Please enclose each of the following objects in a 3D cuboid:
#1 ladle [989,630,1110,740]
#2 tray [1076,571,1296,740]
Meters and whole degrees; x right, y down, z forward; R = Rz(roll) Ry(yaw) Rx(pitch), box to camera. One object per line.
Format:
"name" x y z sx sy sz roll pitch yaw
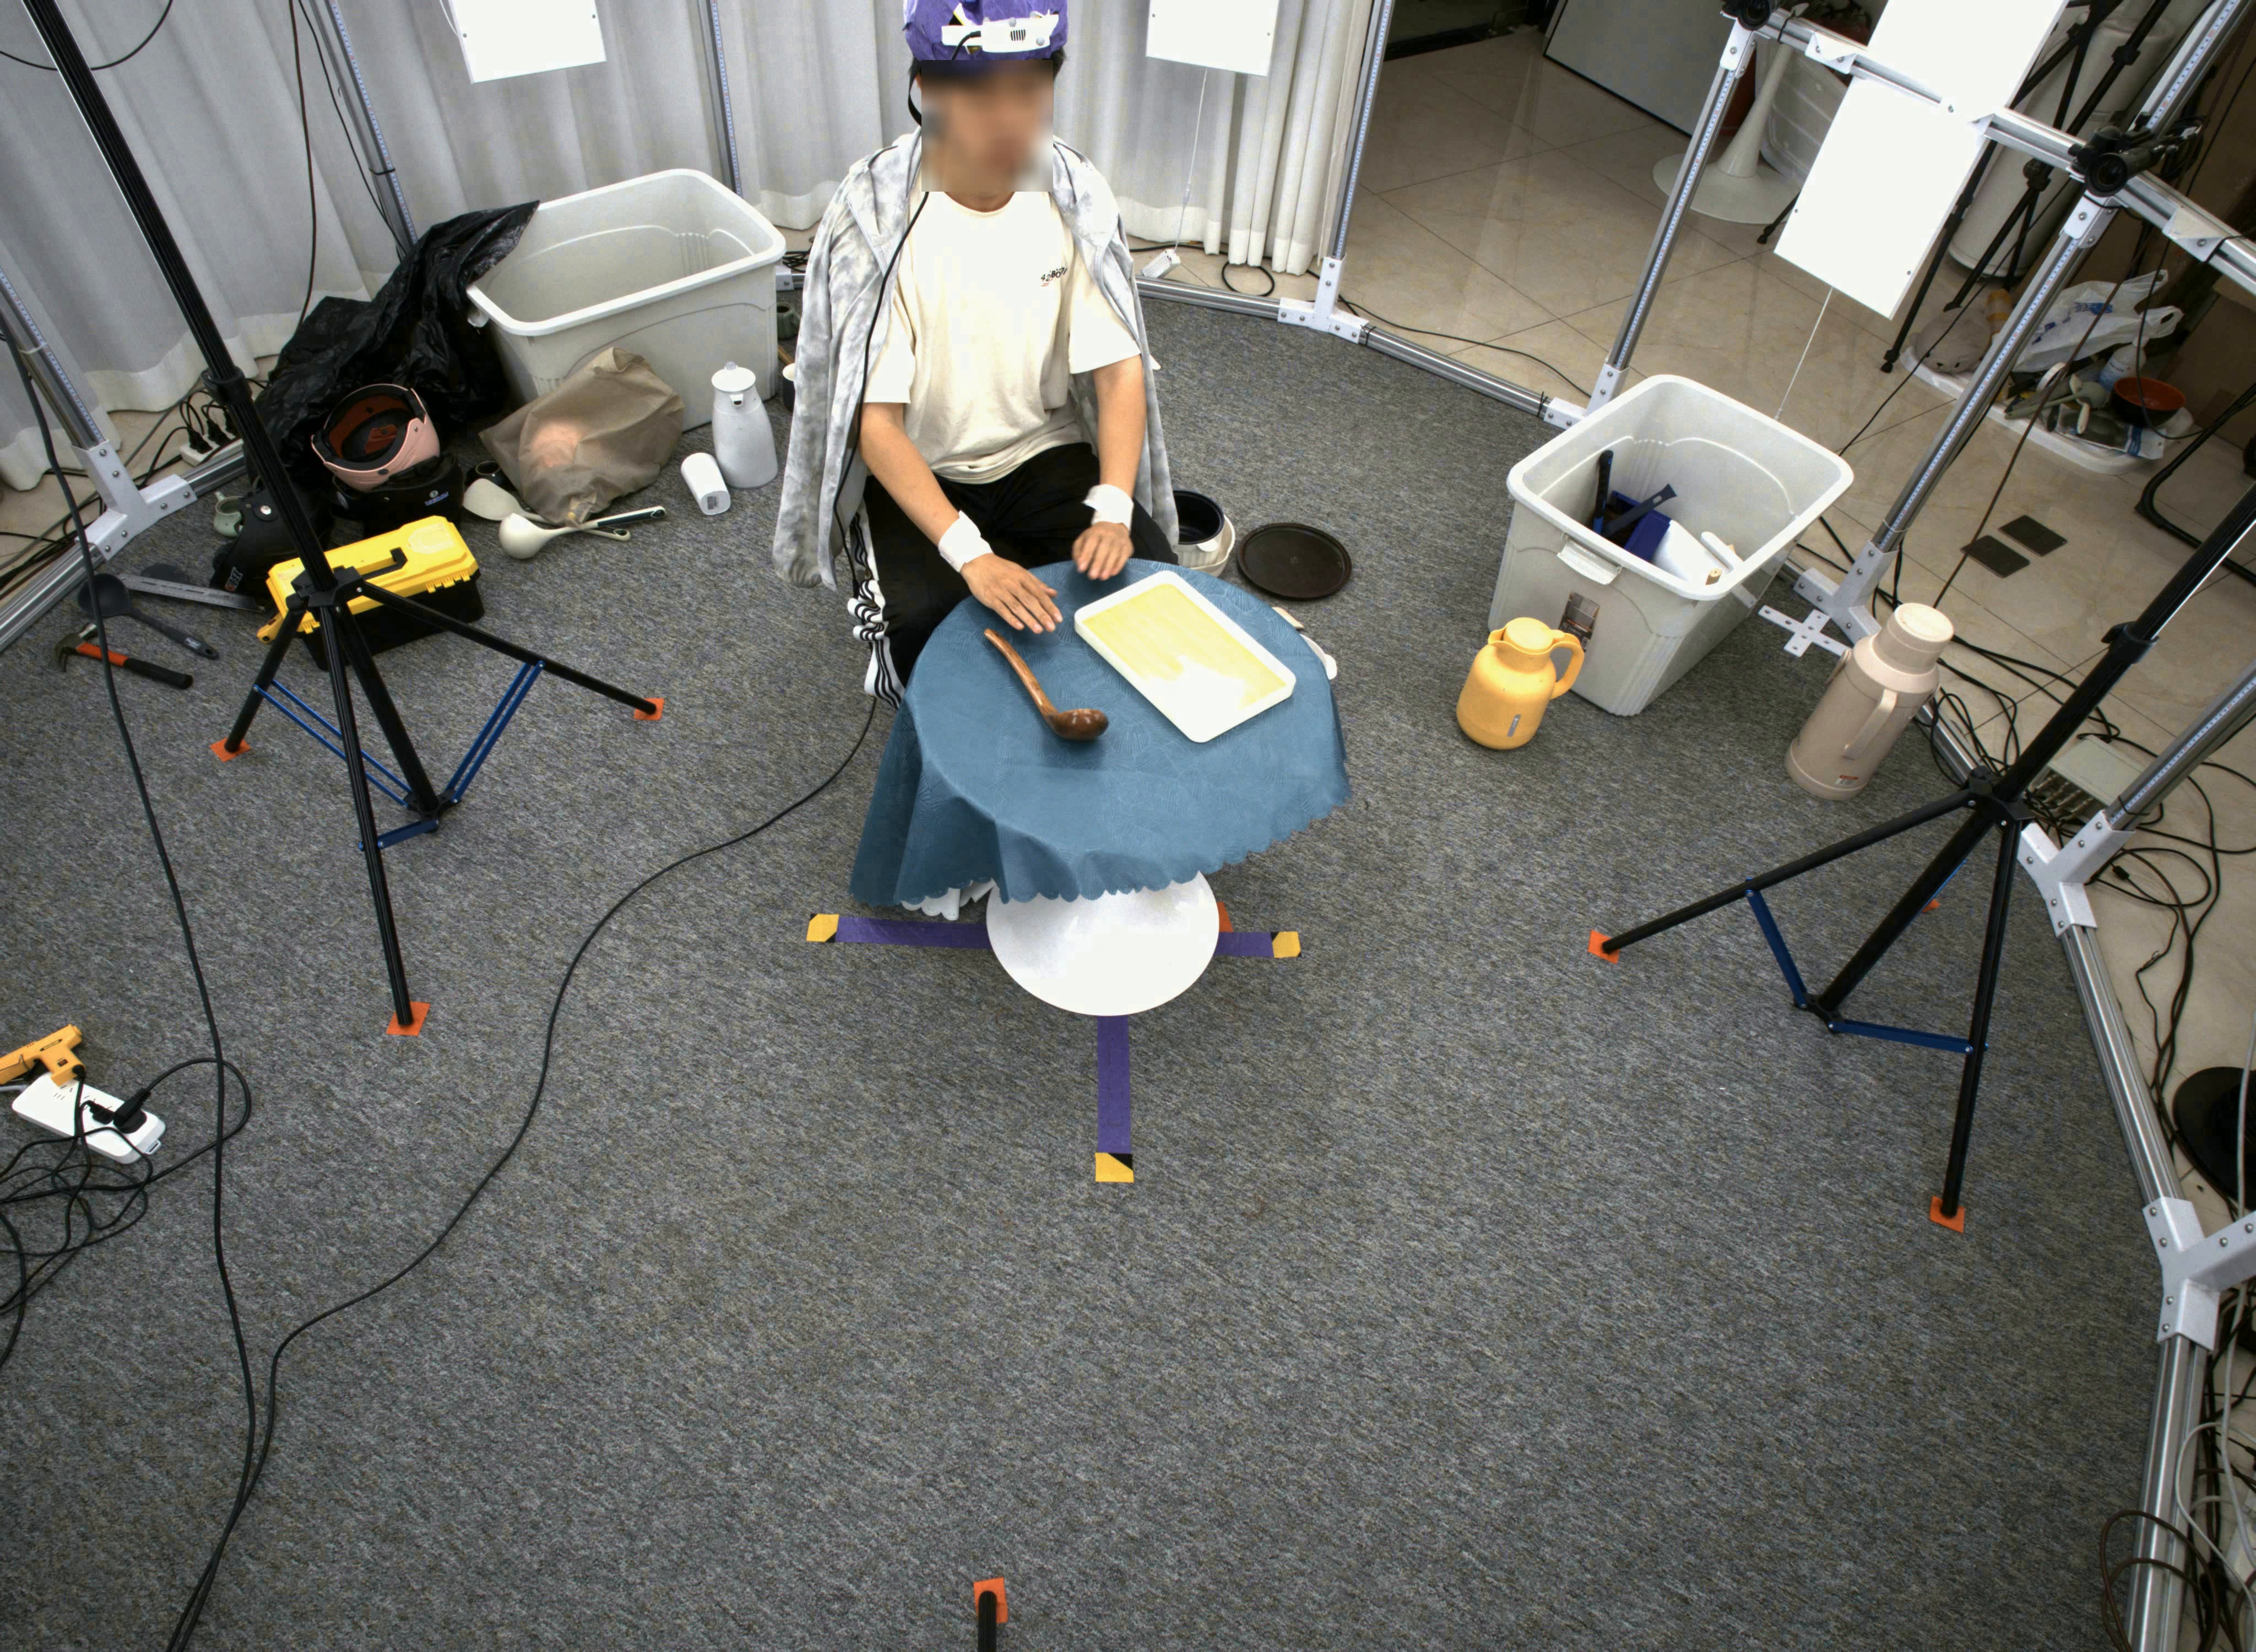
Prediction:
"ladle" -0.116 -0.213 1.793 0.081 0.076 0.280 18 30 -47
"tray" 0.081 -0.254 1.869 0.192 0.027 0.306 -28 56 -25
